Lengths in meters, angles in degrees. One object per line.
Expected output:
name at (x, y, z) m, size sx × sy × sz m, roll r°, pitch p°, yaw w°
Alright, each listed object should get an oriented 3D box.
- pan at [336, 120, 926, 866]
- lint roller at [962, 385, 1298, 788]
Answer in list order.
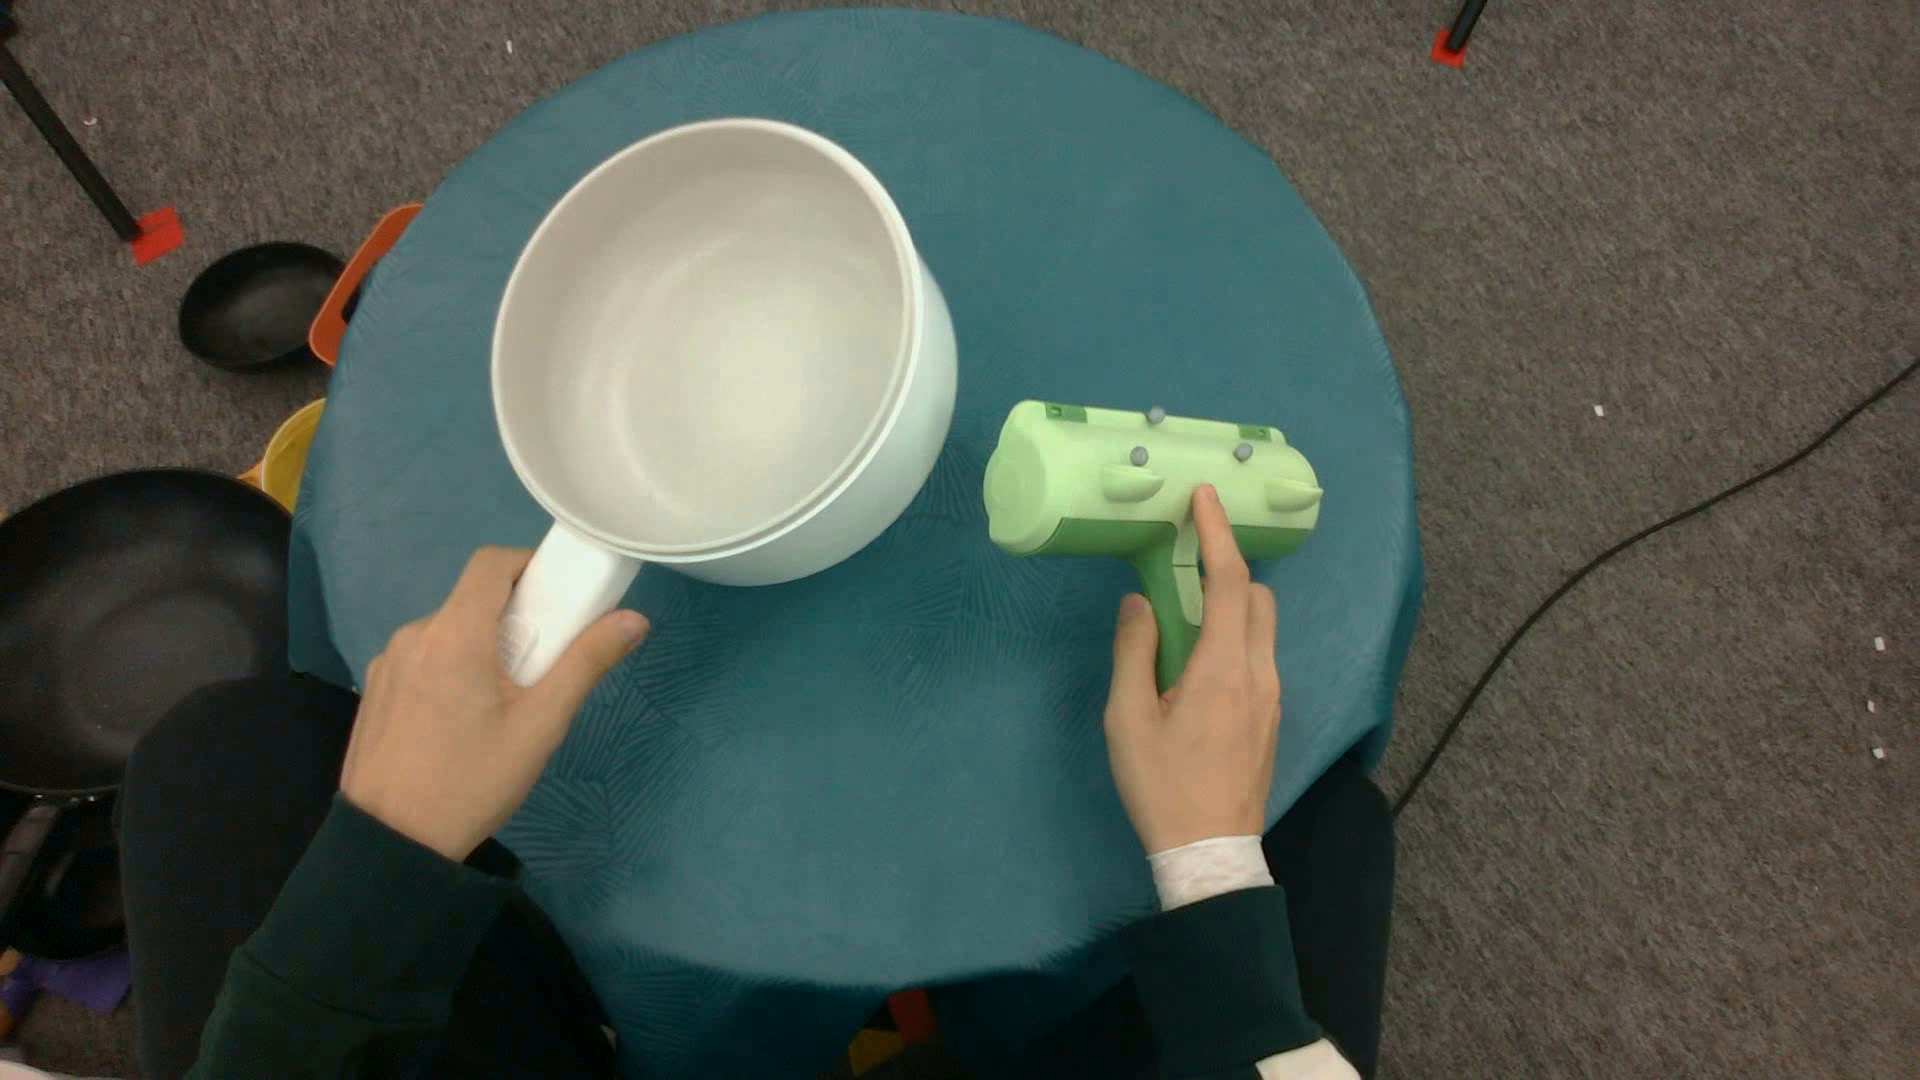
pan at (-0.153, -0.015, 0.634) m, size 0.201 × 0.102 × 0.355 m, roll 28°, pitch 85°, yaw 18°
lint roller at (0.103, 0.018, 0.643) m, size 0.199 × 0.082 × 0.183 m, roll 0°, pitch 69°, yaw -42°
